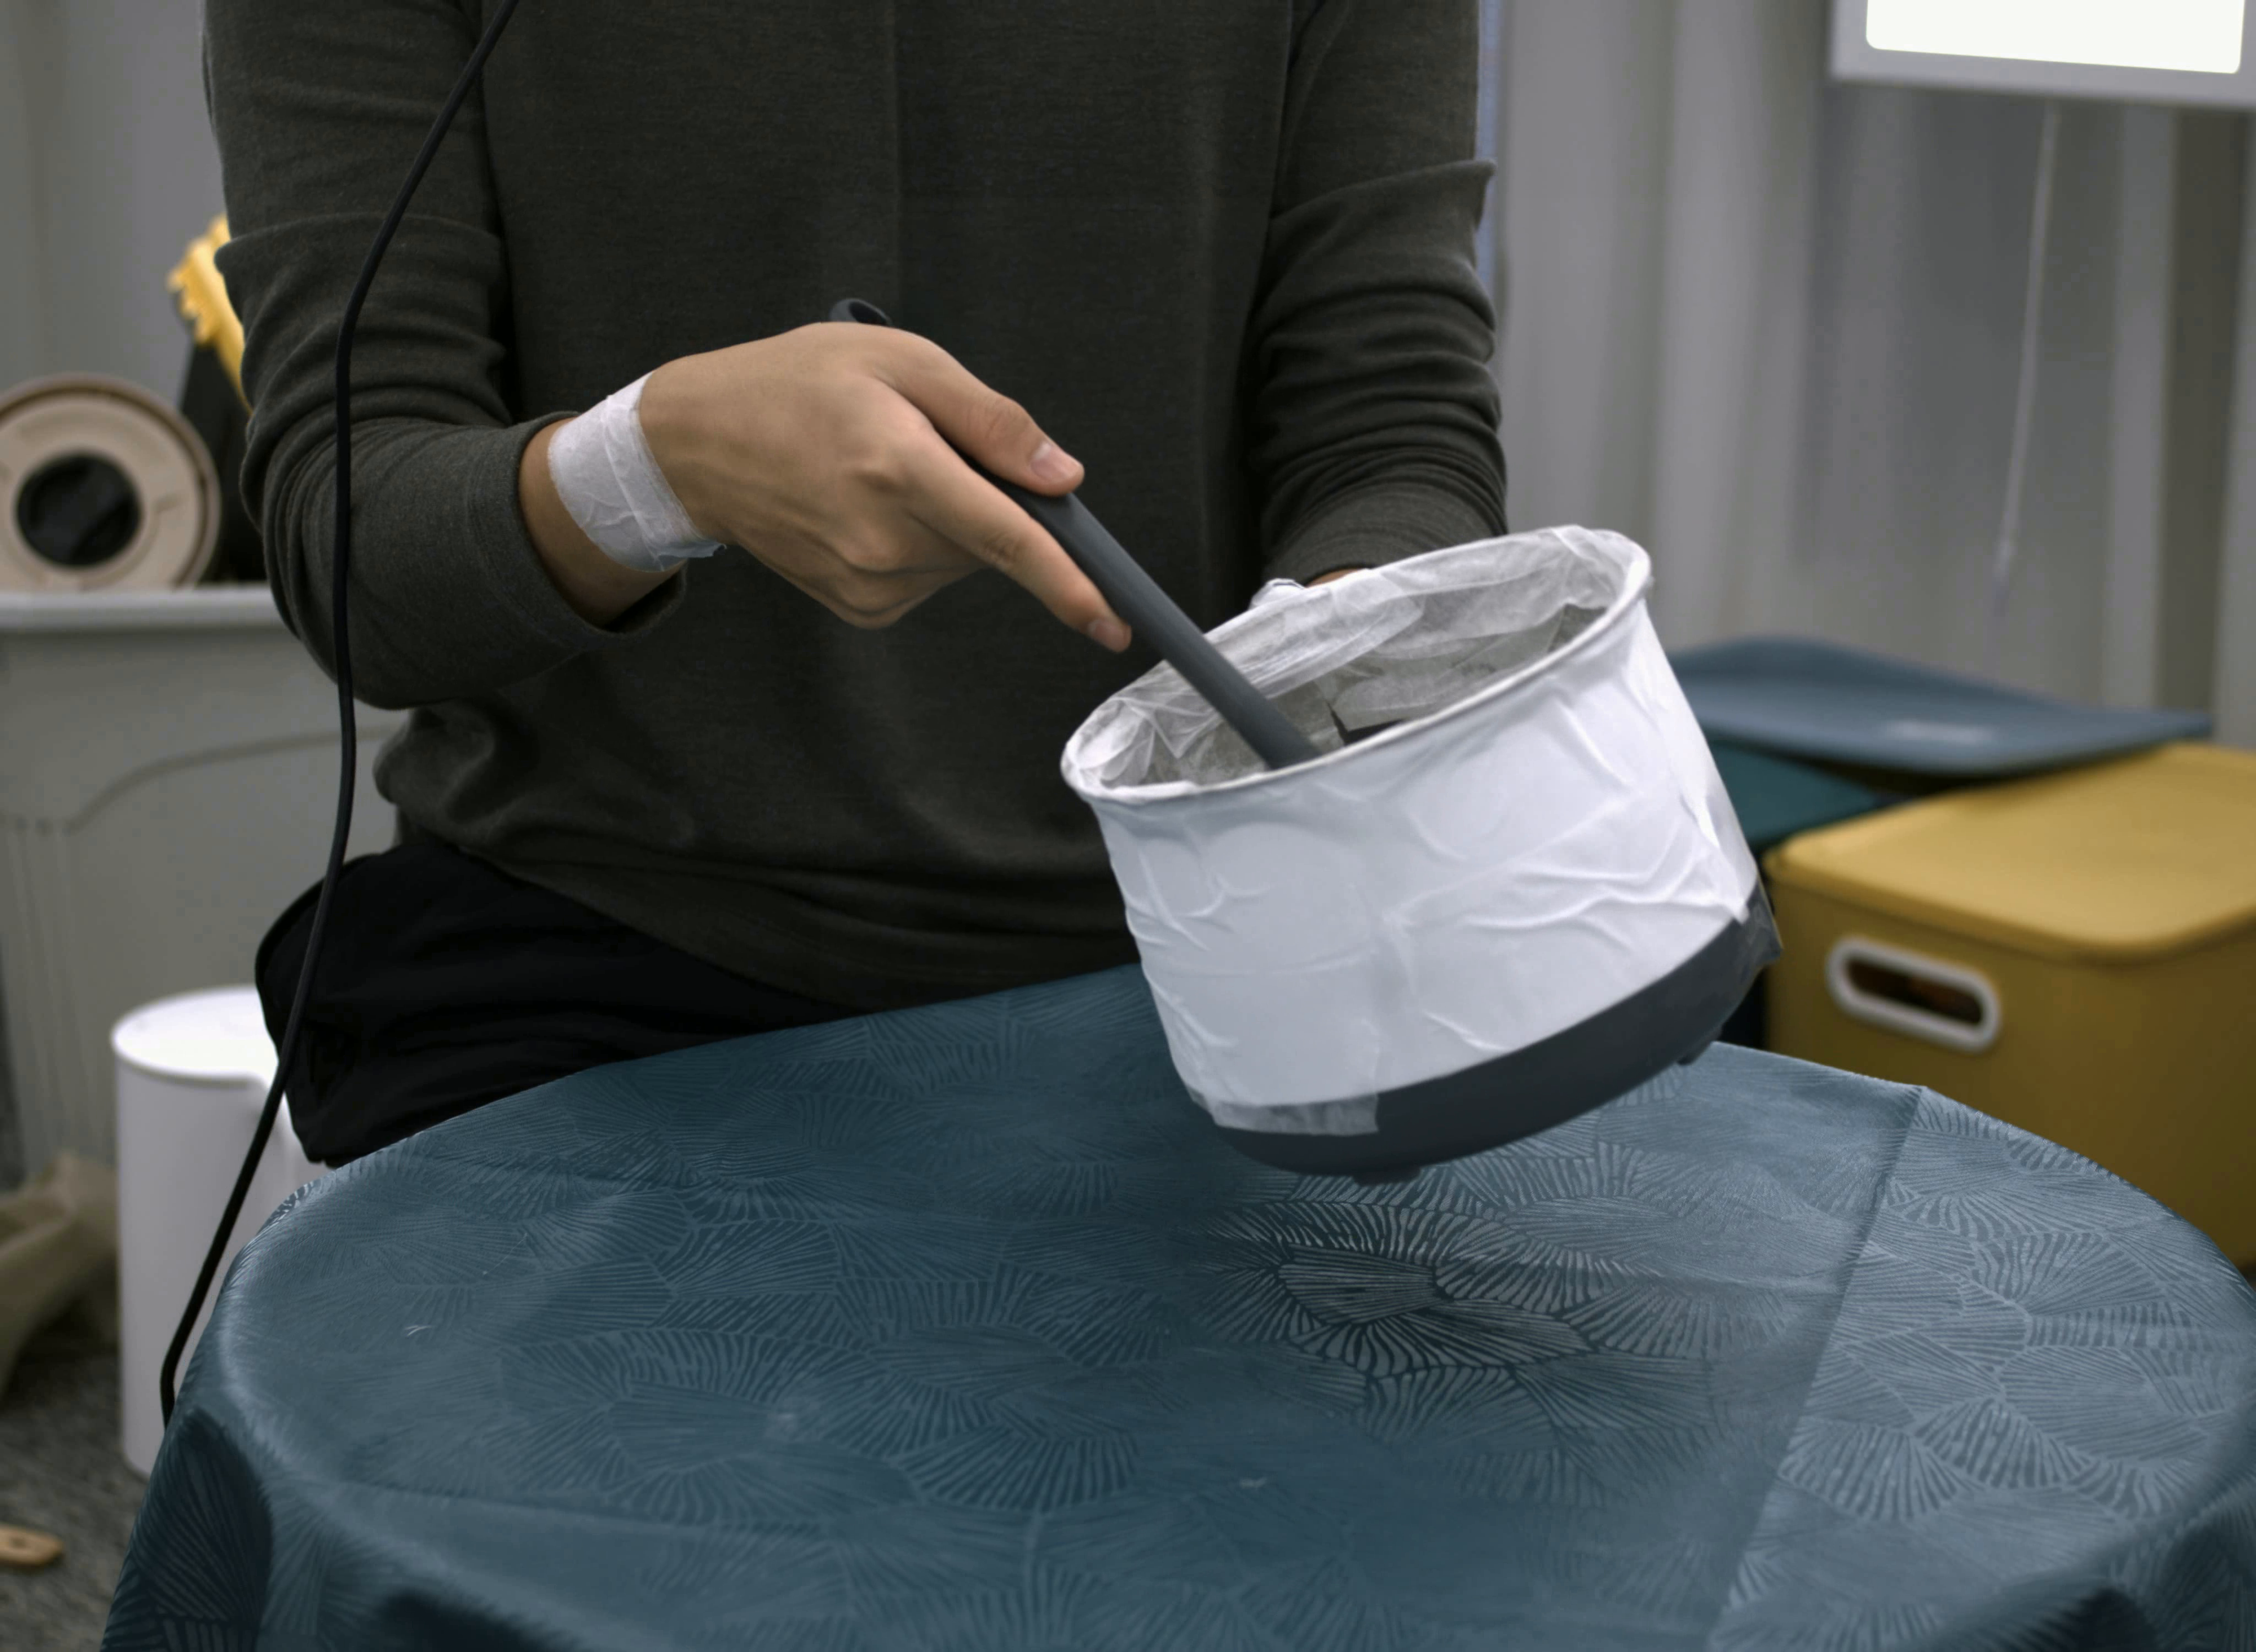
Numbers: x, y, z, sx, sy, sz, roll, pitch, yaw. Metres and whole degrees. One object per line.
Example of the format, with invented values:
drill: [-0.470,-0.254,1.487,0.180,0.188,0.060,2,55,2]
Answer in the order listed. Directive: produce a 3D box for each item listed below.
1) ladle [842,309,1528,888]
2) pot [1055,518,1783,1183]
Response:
ladle: [0.011,-0.078,1.519,0.086,0.064,0.310,-15,49,-37]
pot: [0.078,0.002,1.521,0.178,0.138,0.232,-23,16,-7]
